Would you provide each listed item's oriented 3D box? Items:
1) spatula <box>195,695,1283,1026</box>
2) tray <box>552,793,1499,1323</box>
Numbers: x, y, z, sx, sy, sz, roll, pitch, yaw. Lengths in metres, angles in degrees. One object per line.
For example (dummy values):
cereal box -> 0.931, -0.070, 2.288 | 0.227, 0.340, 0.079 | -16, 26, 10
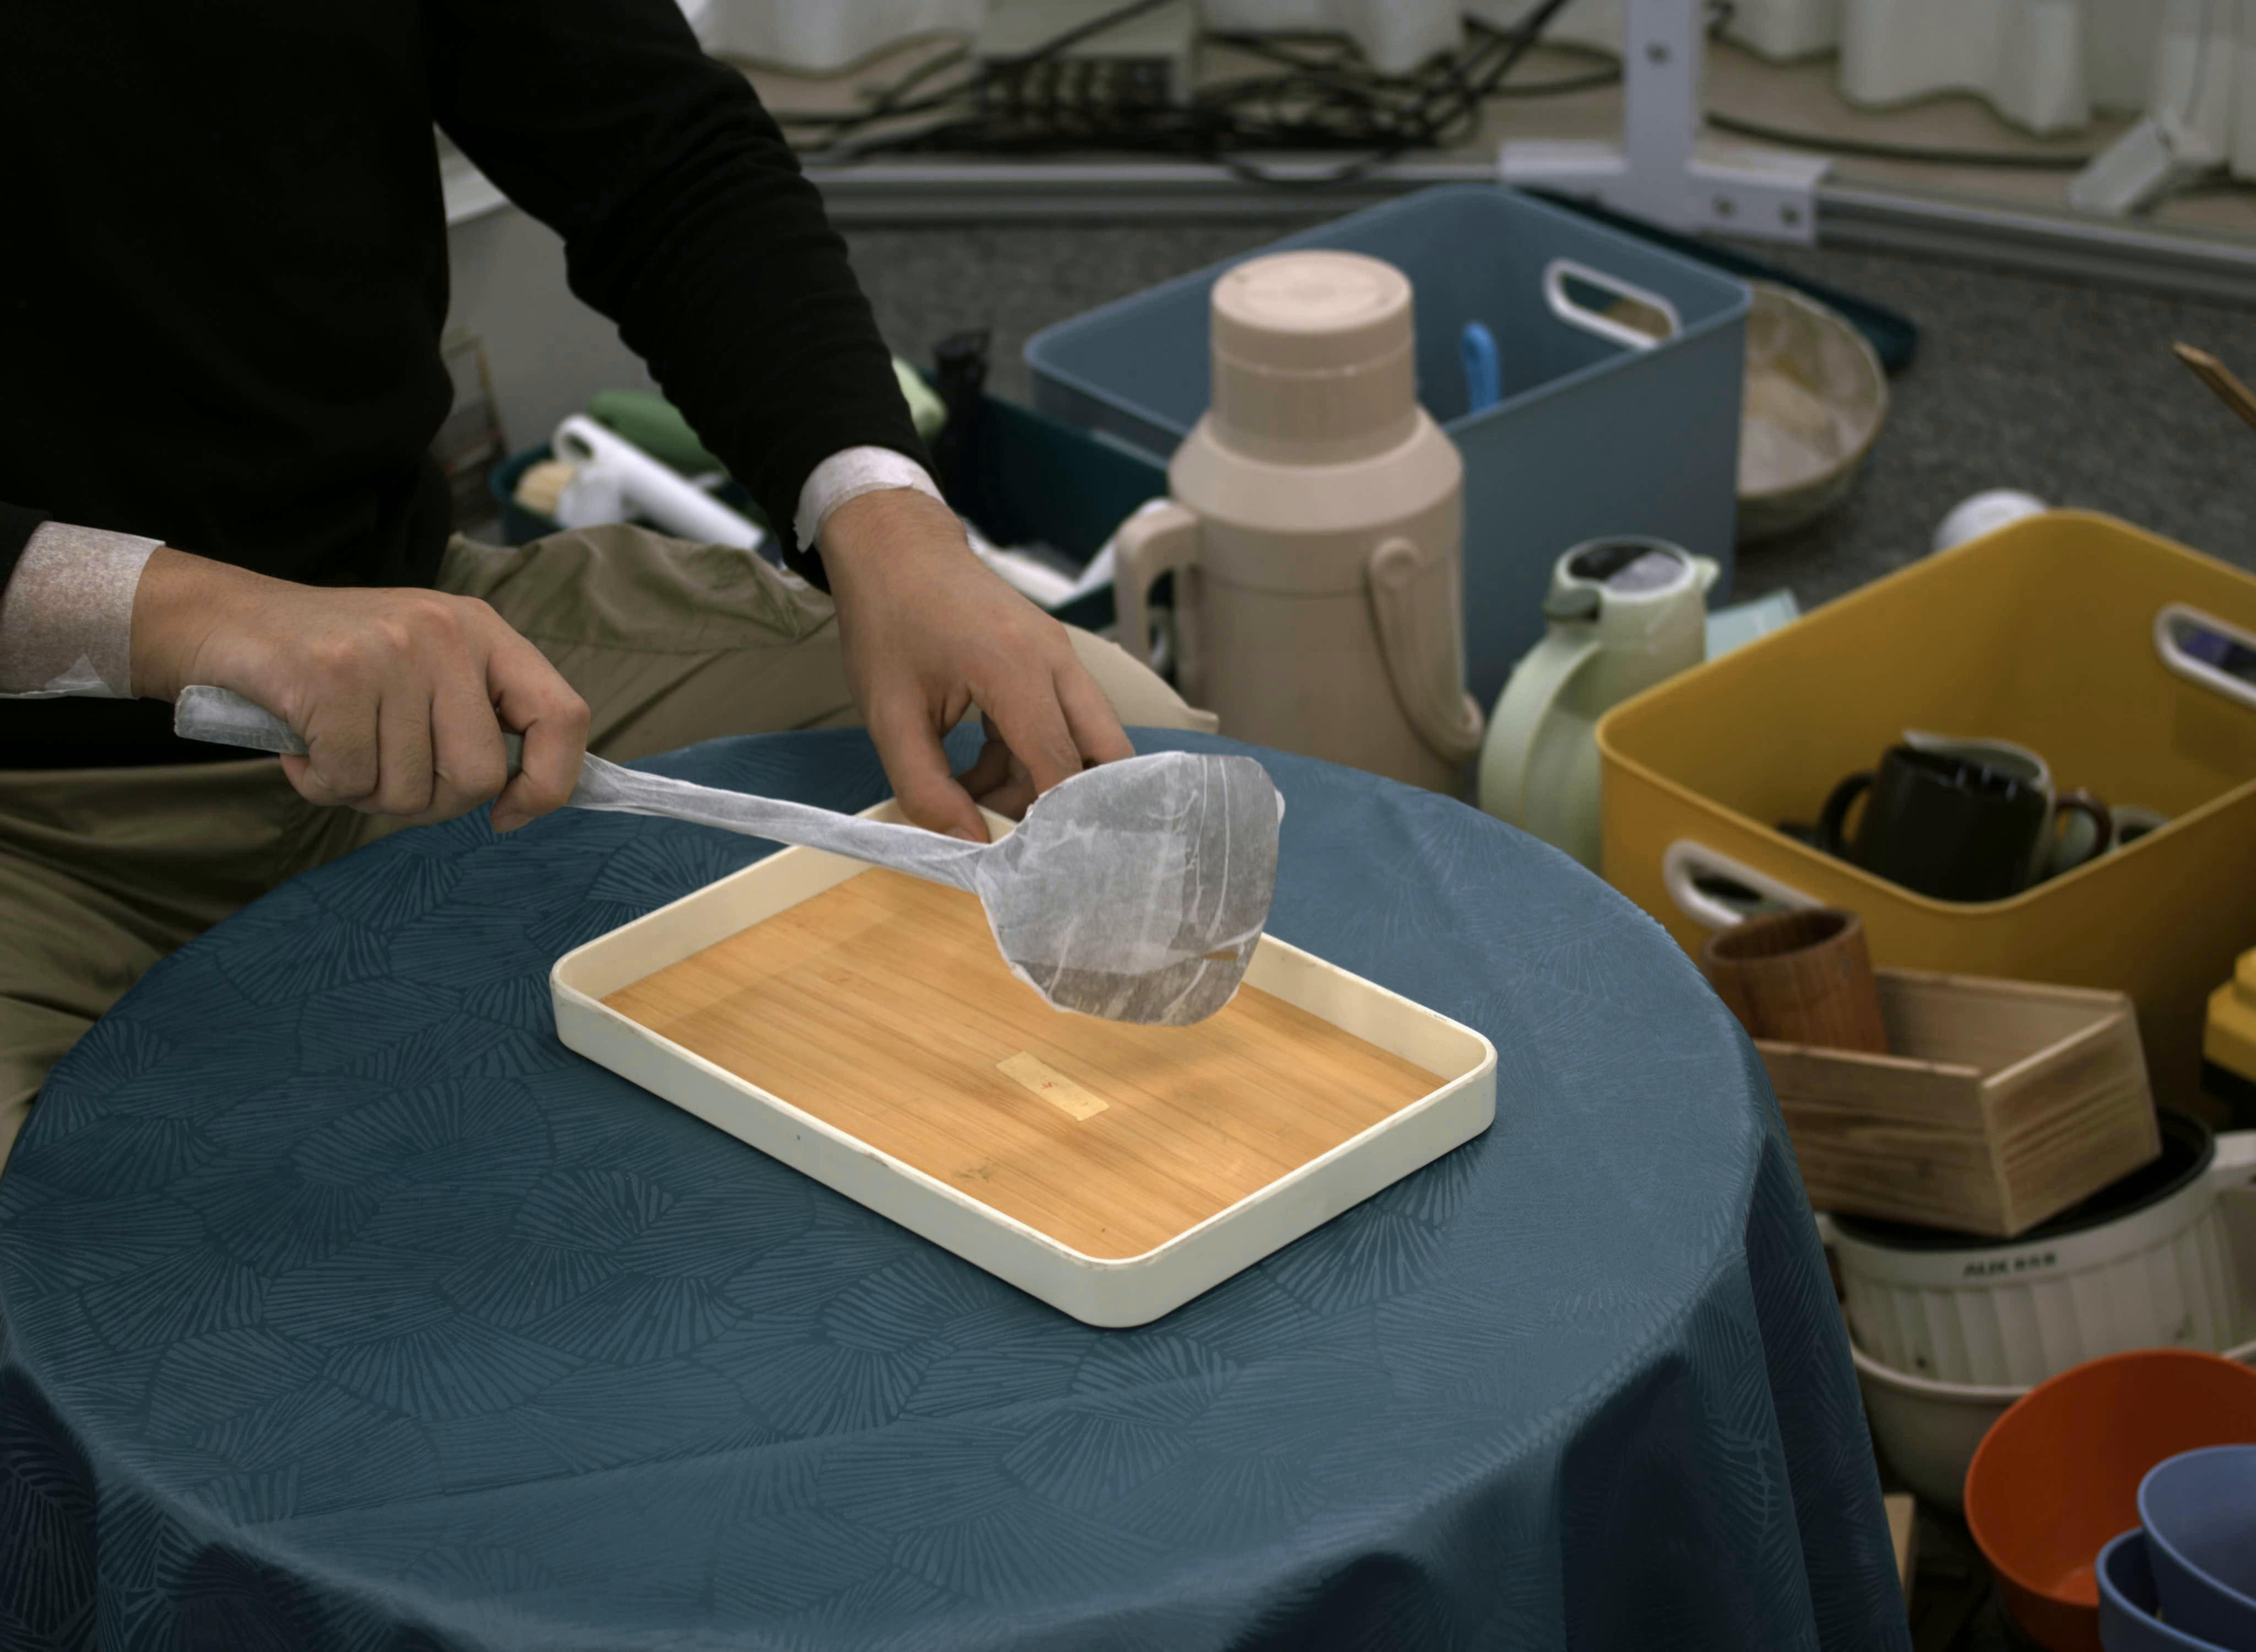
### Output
spatula -> -0.126, -0.005, 1.867 | 0.363, 0.098, 0.045 | 11, 13, -7
tray -> -0.038, 0.074, 1.927 | 0.194, 0.027, 0.300 | -26, 35, -36
